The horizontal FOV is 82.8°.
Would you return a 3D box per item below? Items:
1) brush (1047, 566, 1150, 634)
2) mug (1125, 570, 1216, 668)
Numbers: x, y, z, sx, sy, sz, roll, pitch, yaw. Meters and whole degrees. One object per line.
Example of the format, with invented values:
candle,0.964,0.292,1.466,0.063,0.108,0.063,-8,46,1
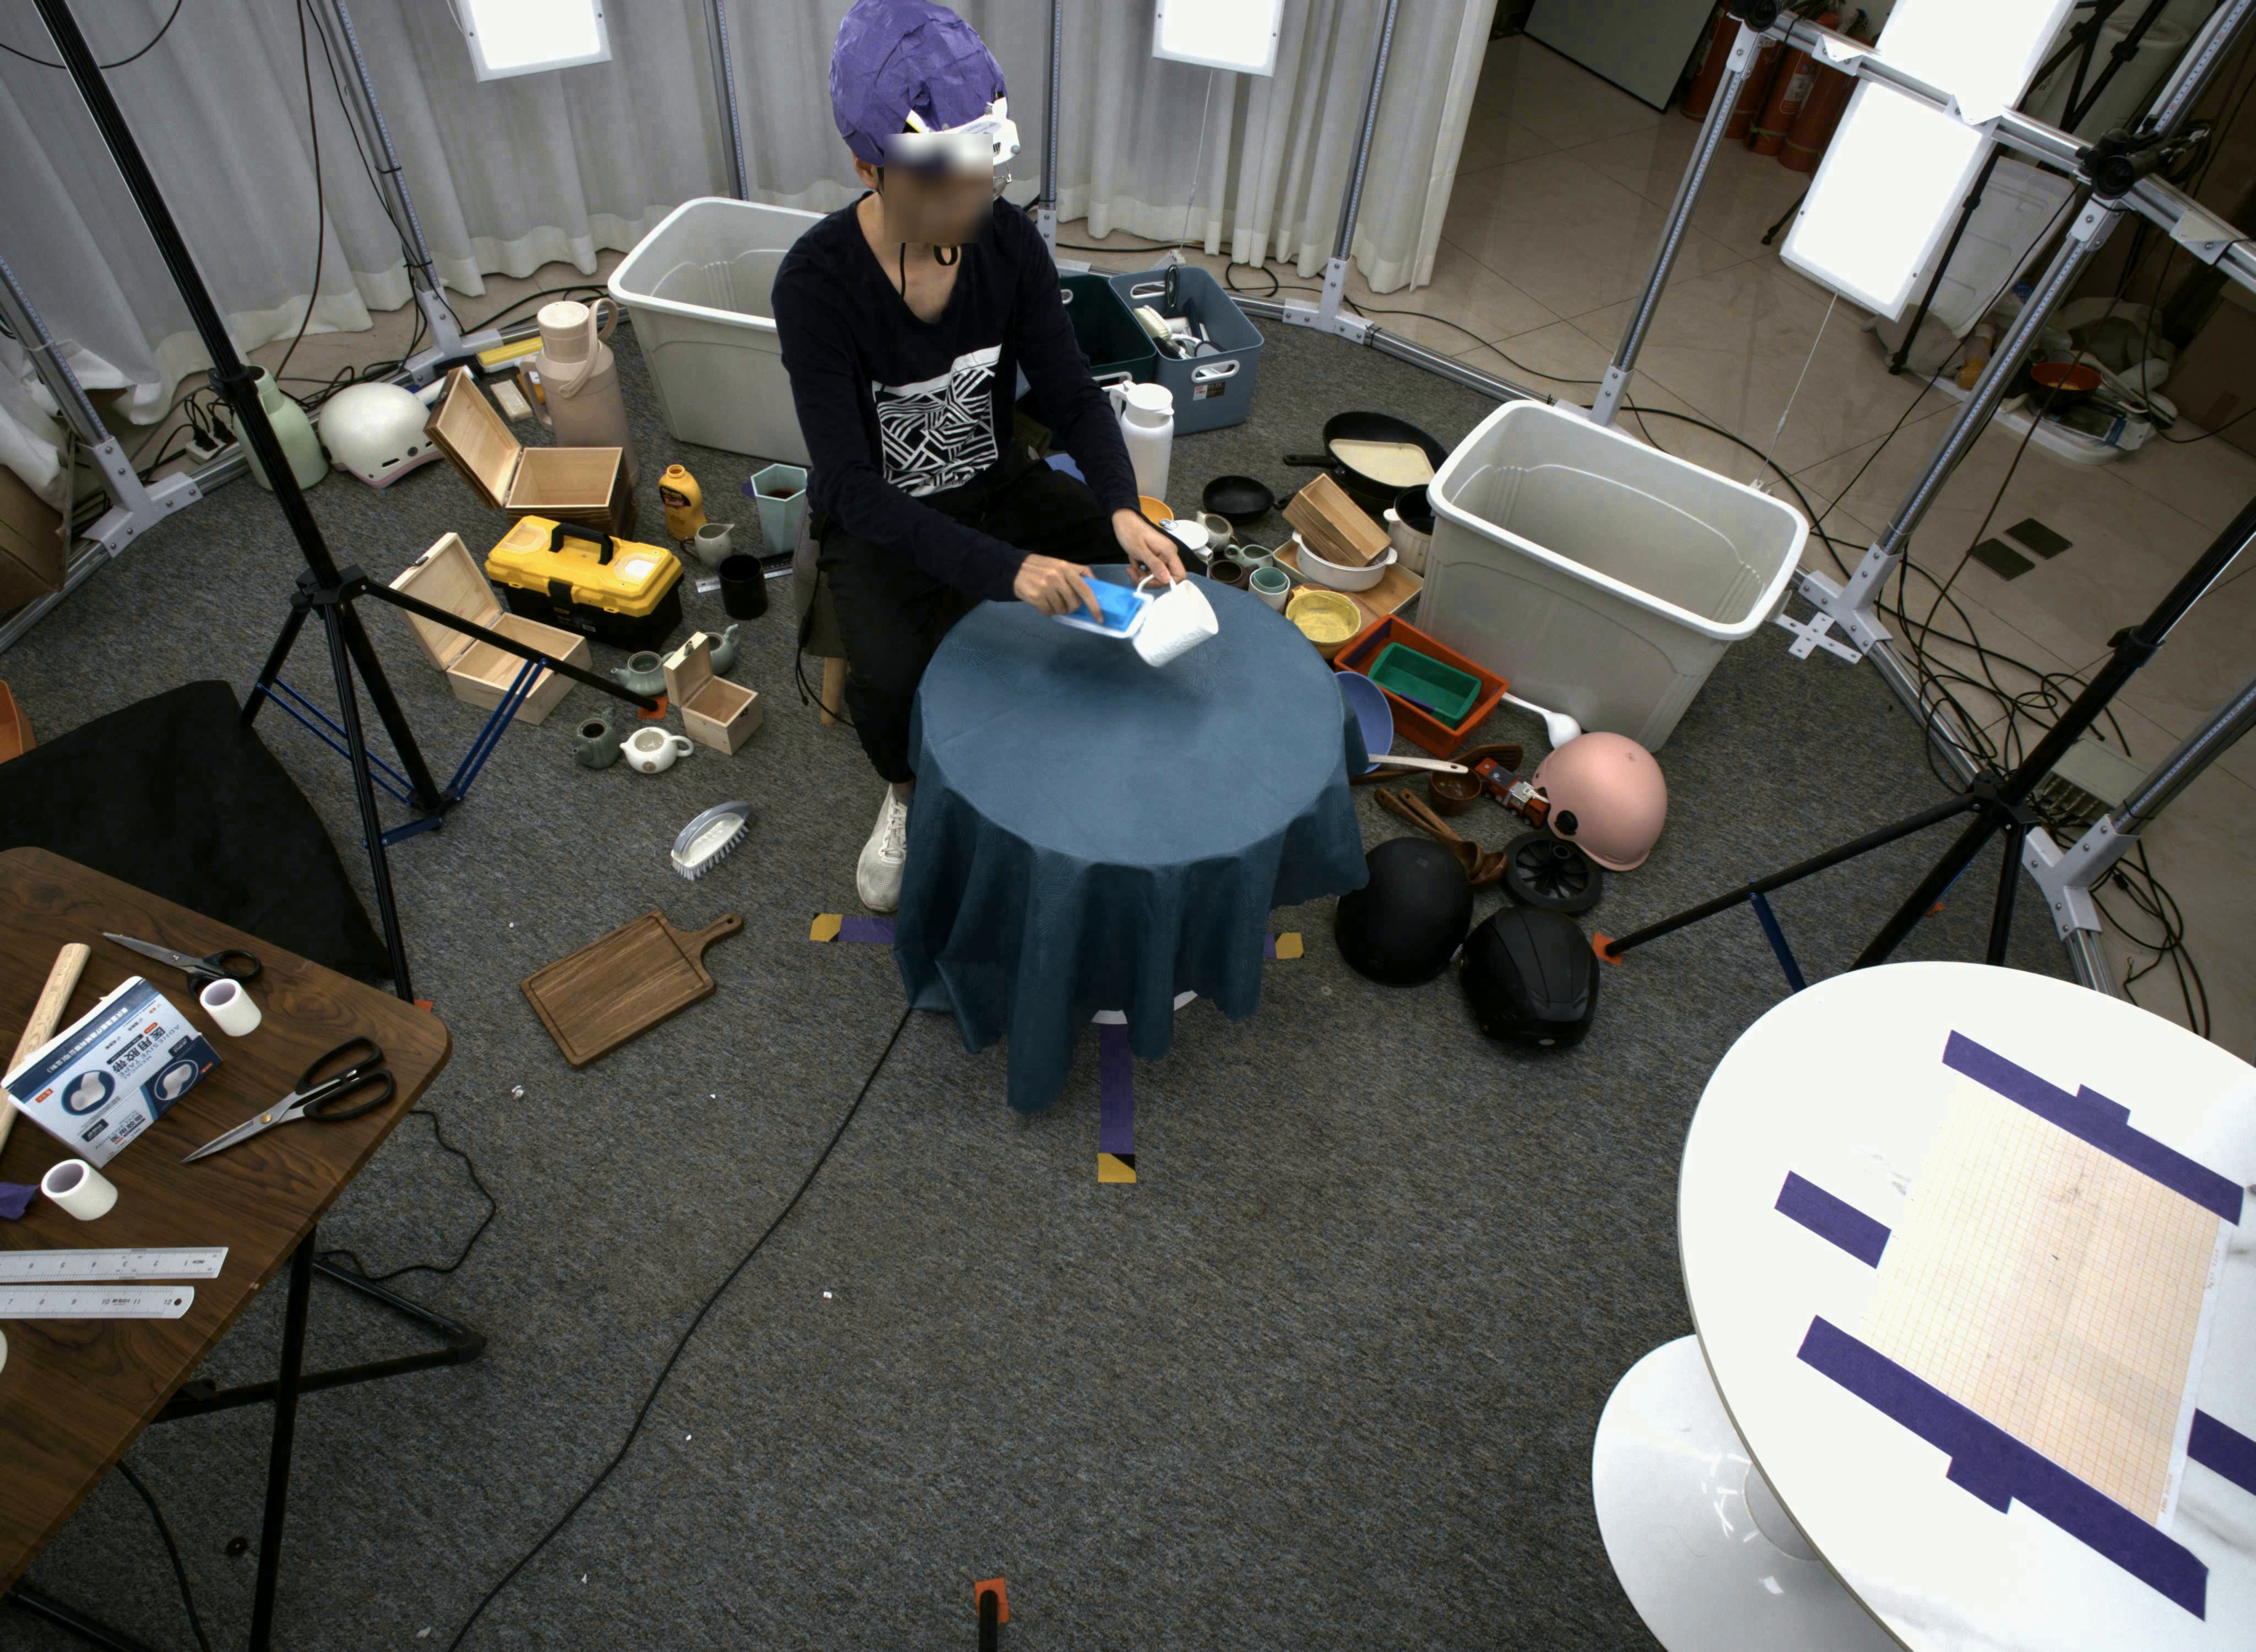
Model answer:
brush,-0.045,-0.320,1.795,0.145,0.054,0.085,22,66,30
mug,0.050,-0.295,1.803,0.118,0.101,0.085,61,23,1
